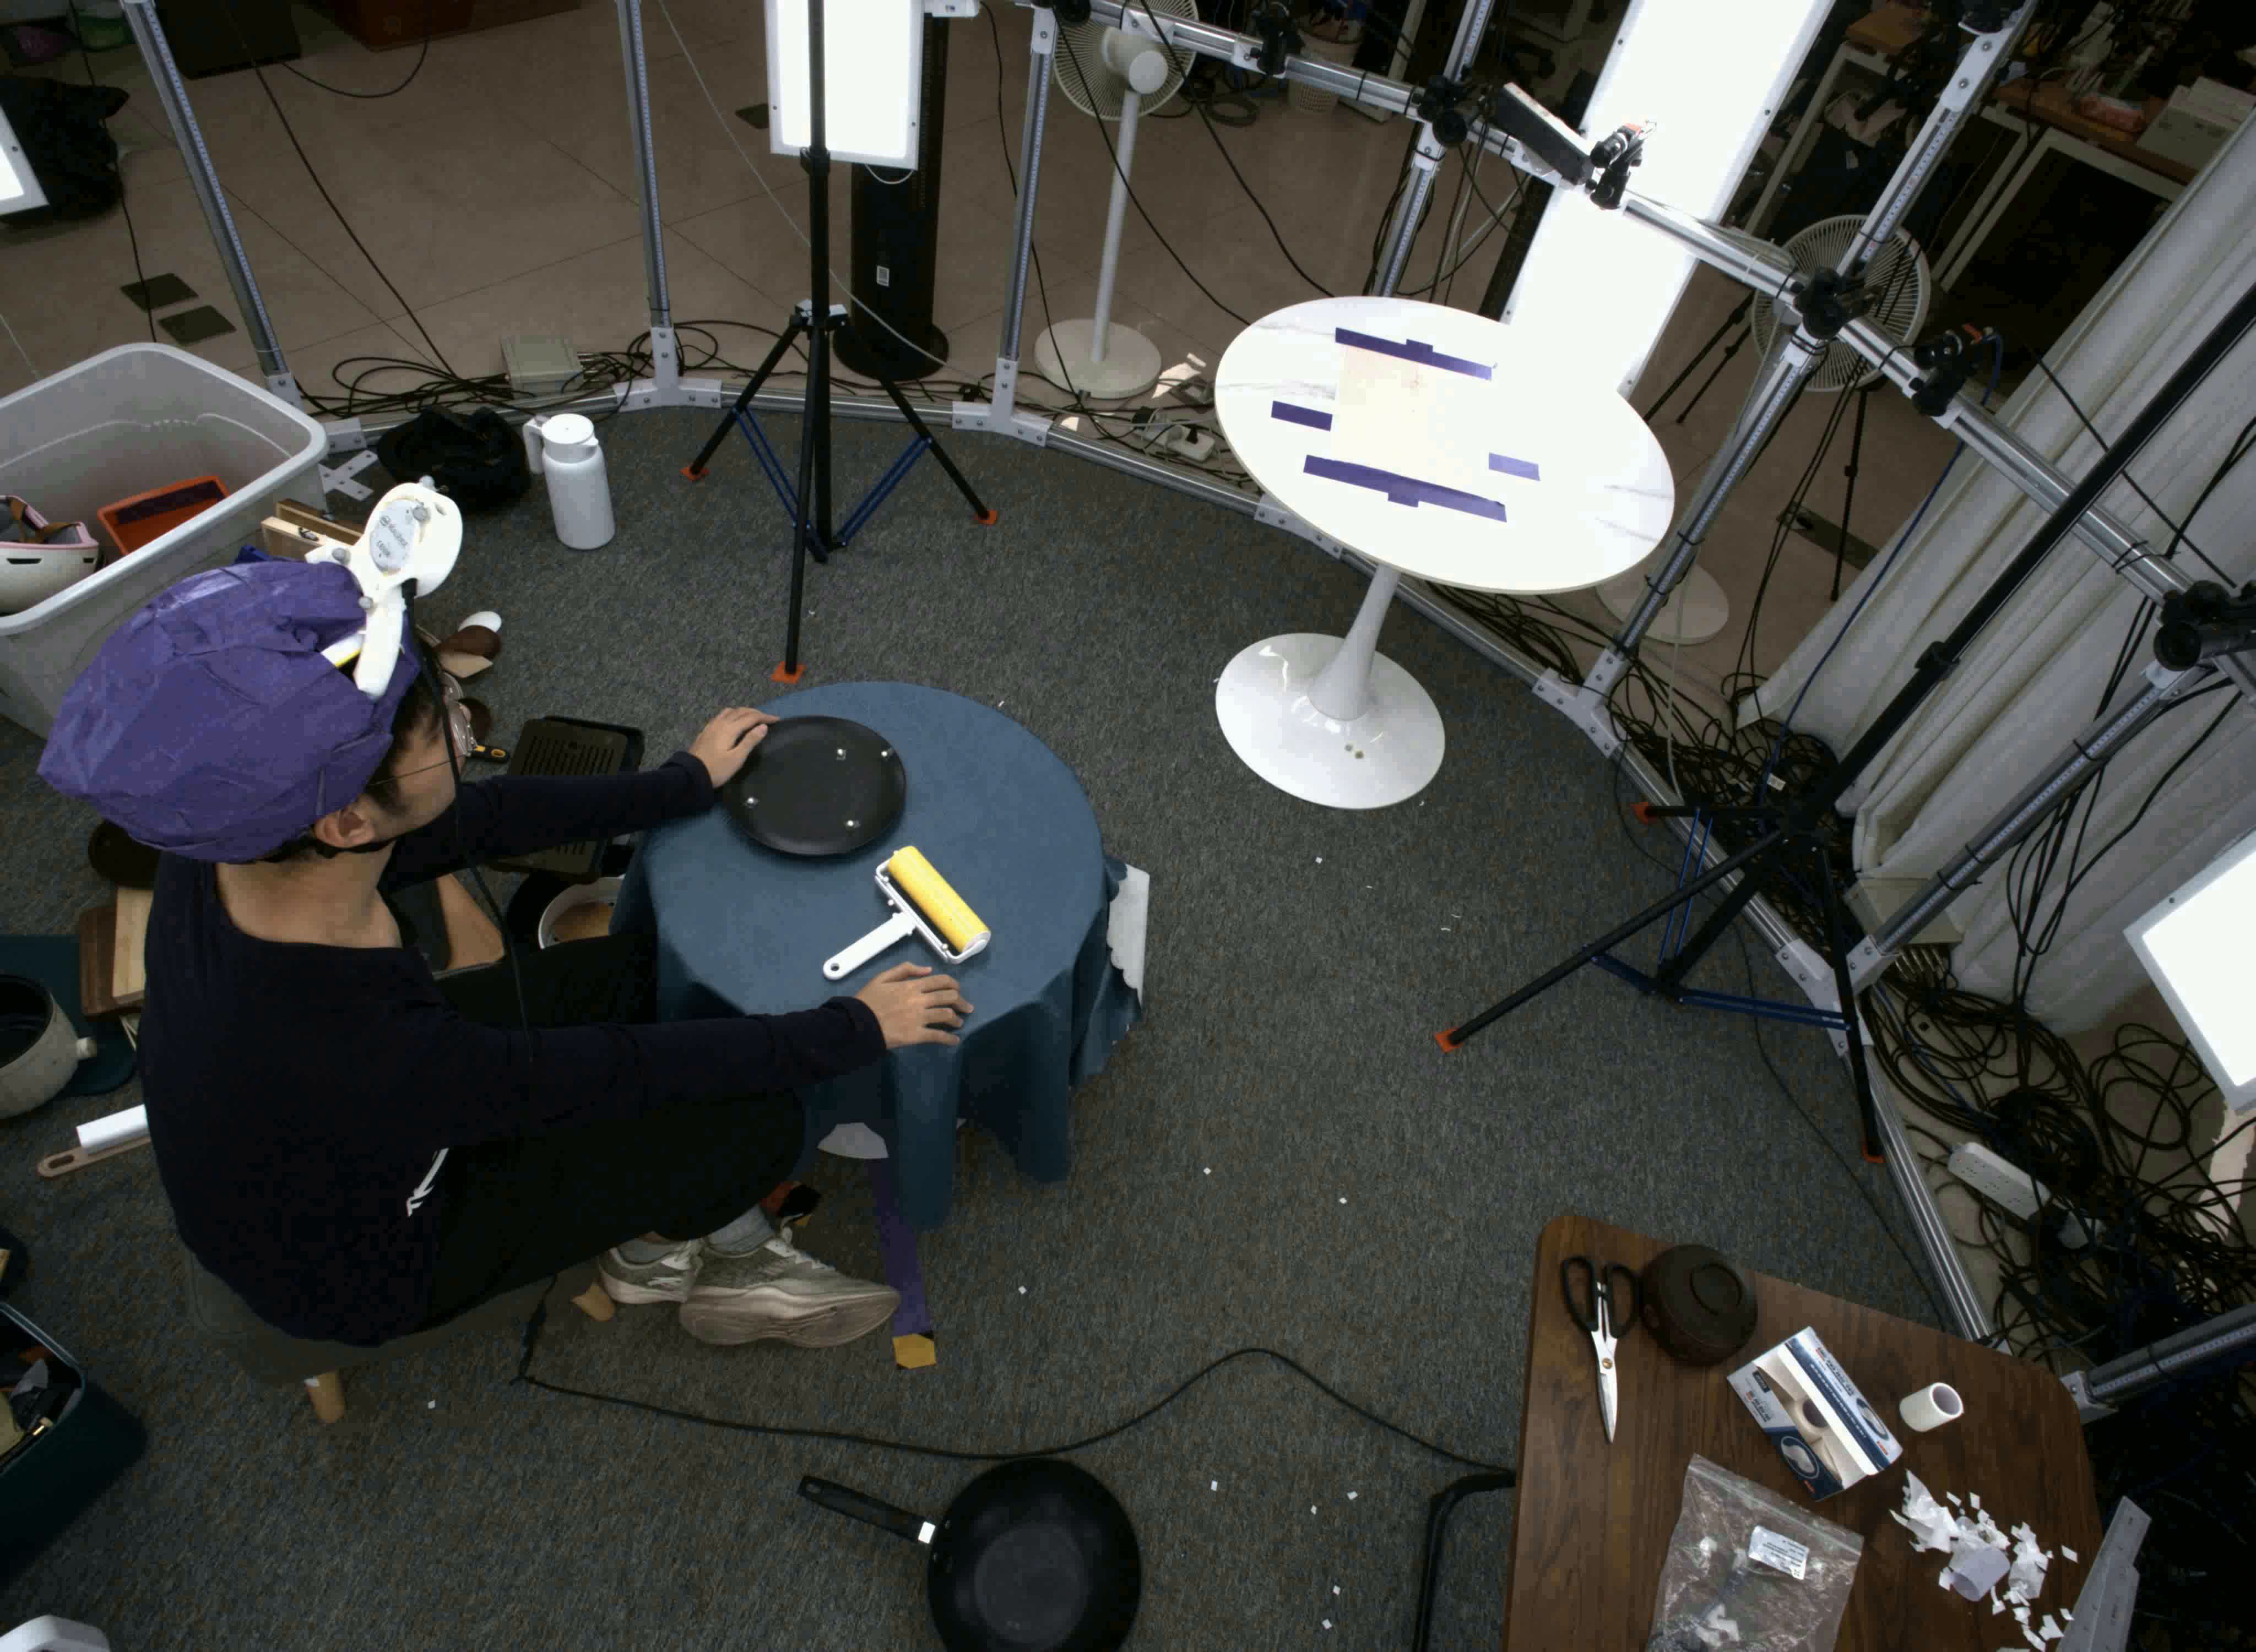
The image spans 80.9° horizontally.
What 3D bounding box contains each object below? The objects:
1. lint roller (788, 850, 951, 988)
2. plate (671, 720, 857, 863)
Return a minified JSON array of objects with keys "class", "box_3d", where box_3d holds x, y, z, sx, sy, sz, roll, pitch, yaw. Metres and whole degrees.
[{"class":"lint roller","box_3d":[-0.346,0.132,1.626,0.170,0.052,0.192,41,52,18]},{"class":"plate","box_3d":[-0.487,-0.044,1.737,0.244,0.024,0.240,8,53,-9]}]
